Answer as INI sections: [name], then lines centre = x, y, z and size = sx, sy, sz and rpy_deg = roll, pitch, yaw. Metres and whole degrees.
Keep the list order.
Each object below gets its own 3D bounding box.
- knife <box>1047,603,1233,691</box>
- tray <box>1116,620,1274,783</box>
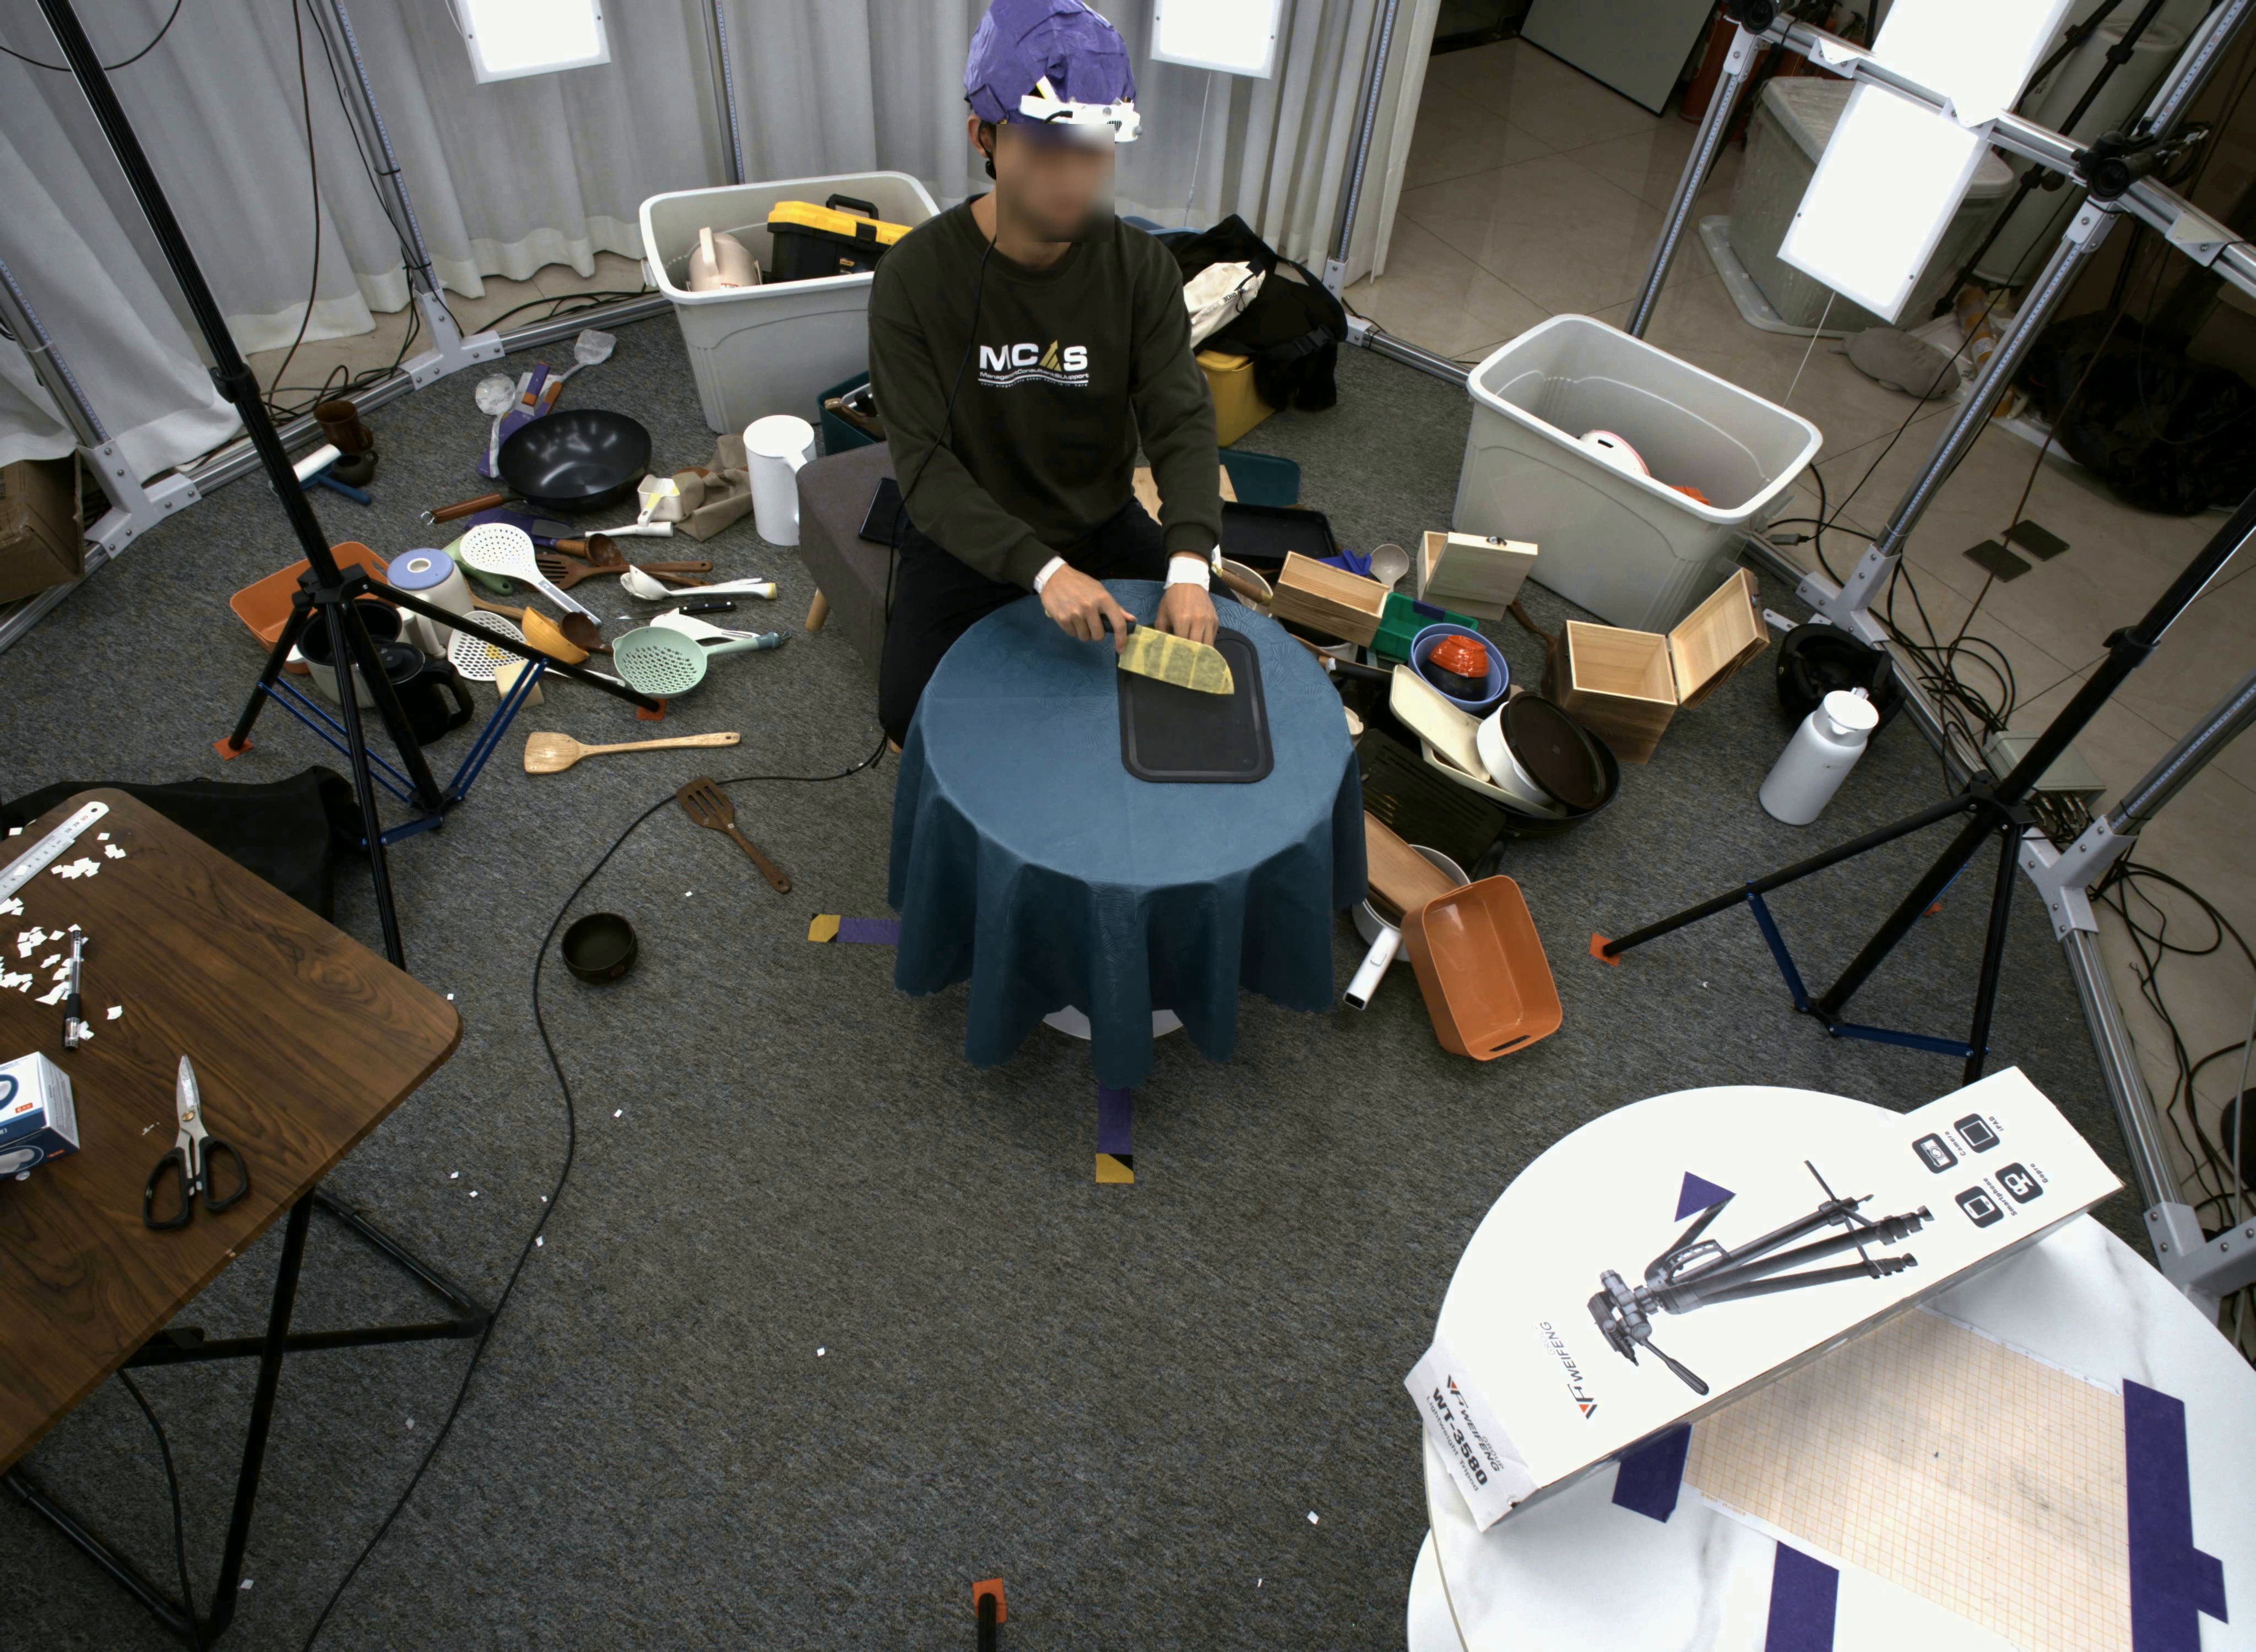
[knife]
centre = 0.016, -0.257, 1.838
size = 0.291, 0.079, 0.027
rpy_deg = 21, 30, 10
[tray]
centre = 0.090, -0.186, 1.829
size = 0.211, 0.009, 0.333
rpy_deg = 0, 49, -4
